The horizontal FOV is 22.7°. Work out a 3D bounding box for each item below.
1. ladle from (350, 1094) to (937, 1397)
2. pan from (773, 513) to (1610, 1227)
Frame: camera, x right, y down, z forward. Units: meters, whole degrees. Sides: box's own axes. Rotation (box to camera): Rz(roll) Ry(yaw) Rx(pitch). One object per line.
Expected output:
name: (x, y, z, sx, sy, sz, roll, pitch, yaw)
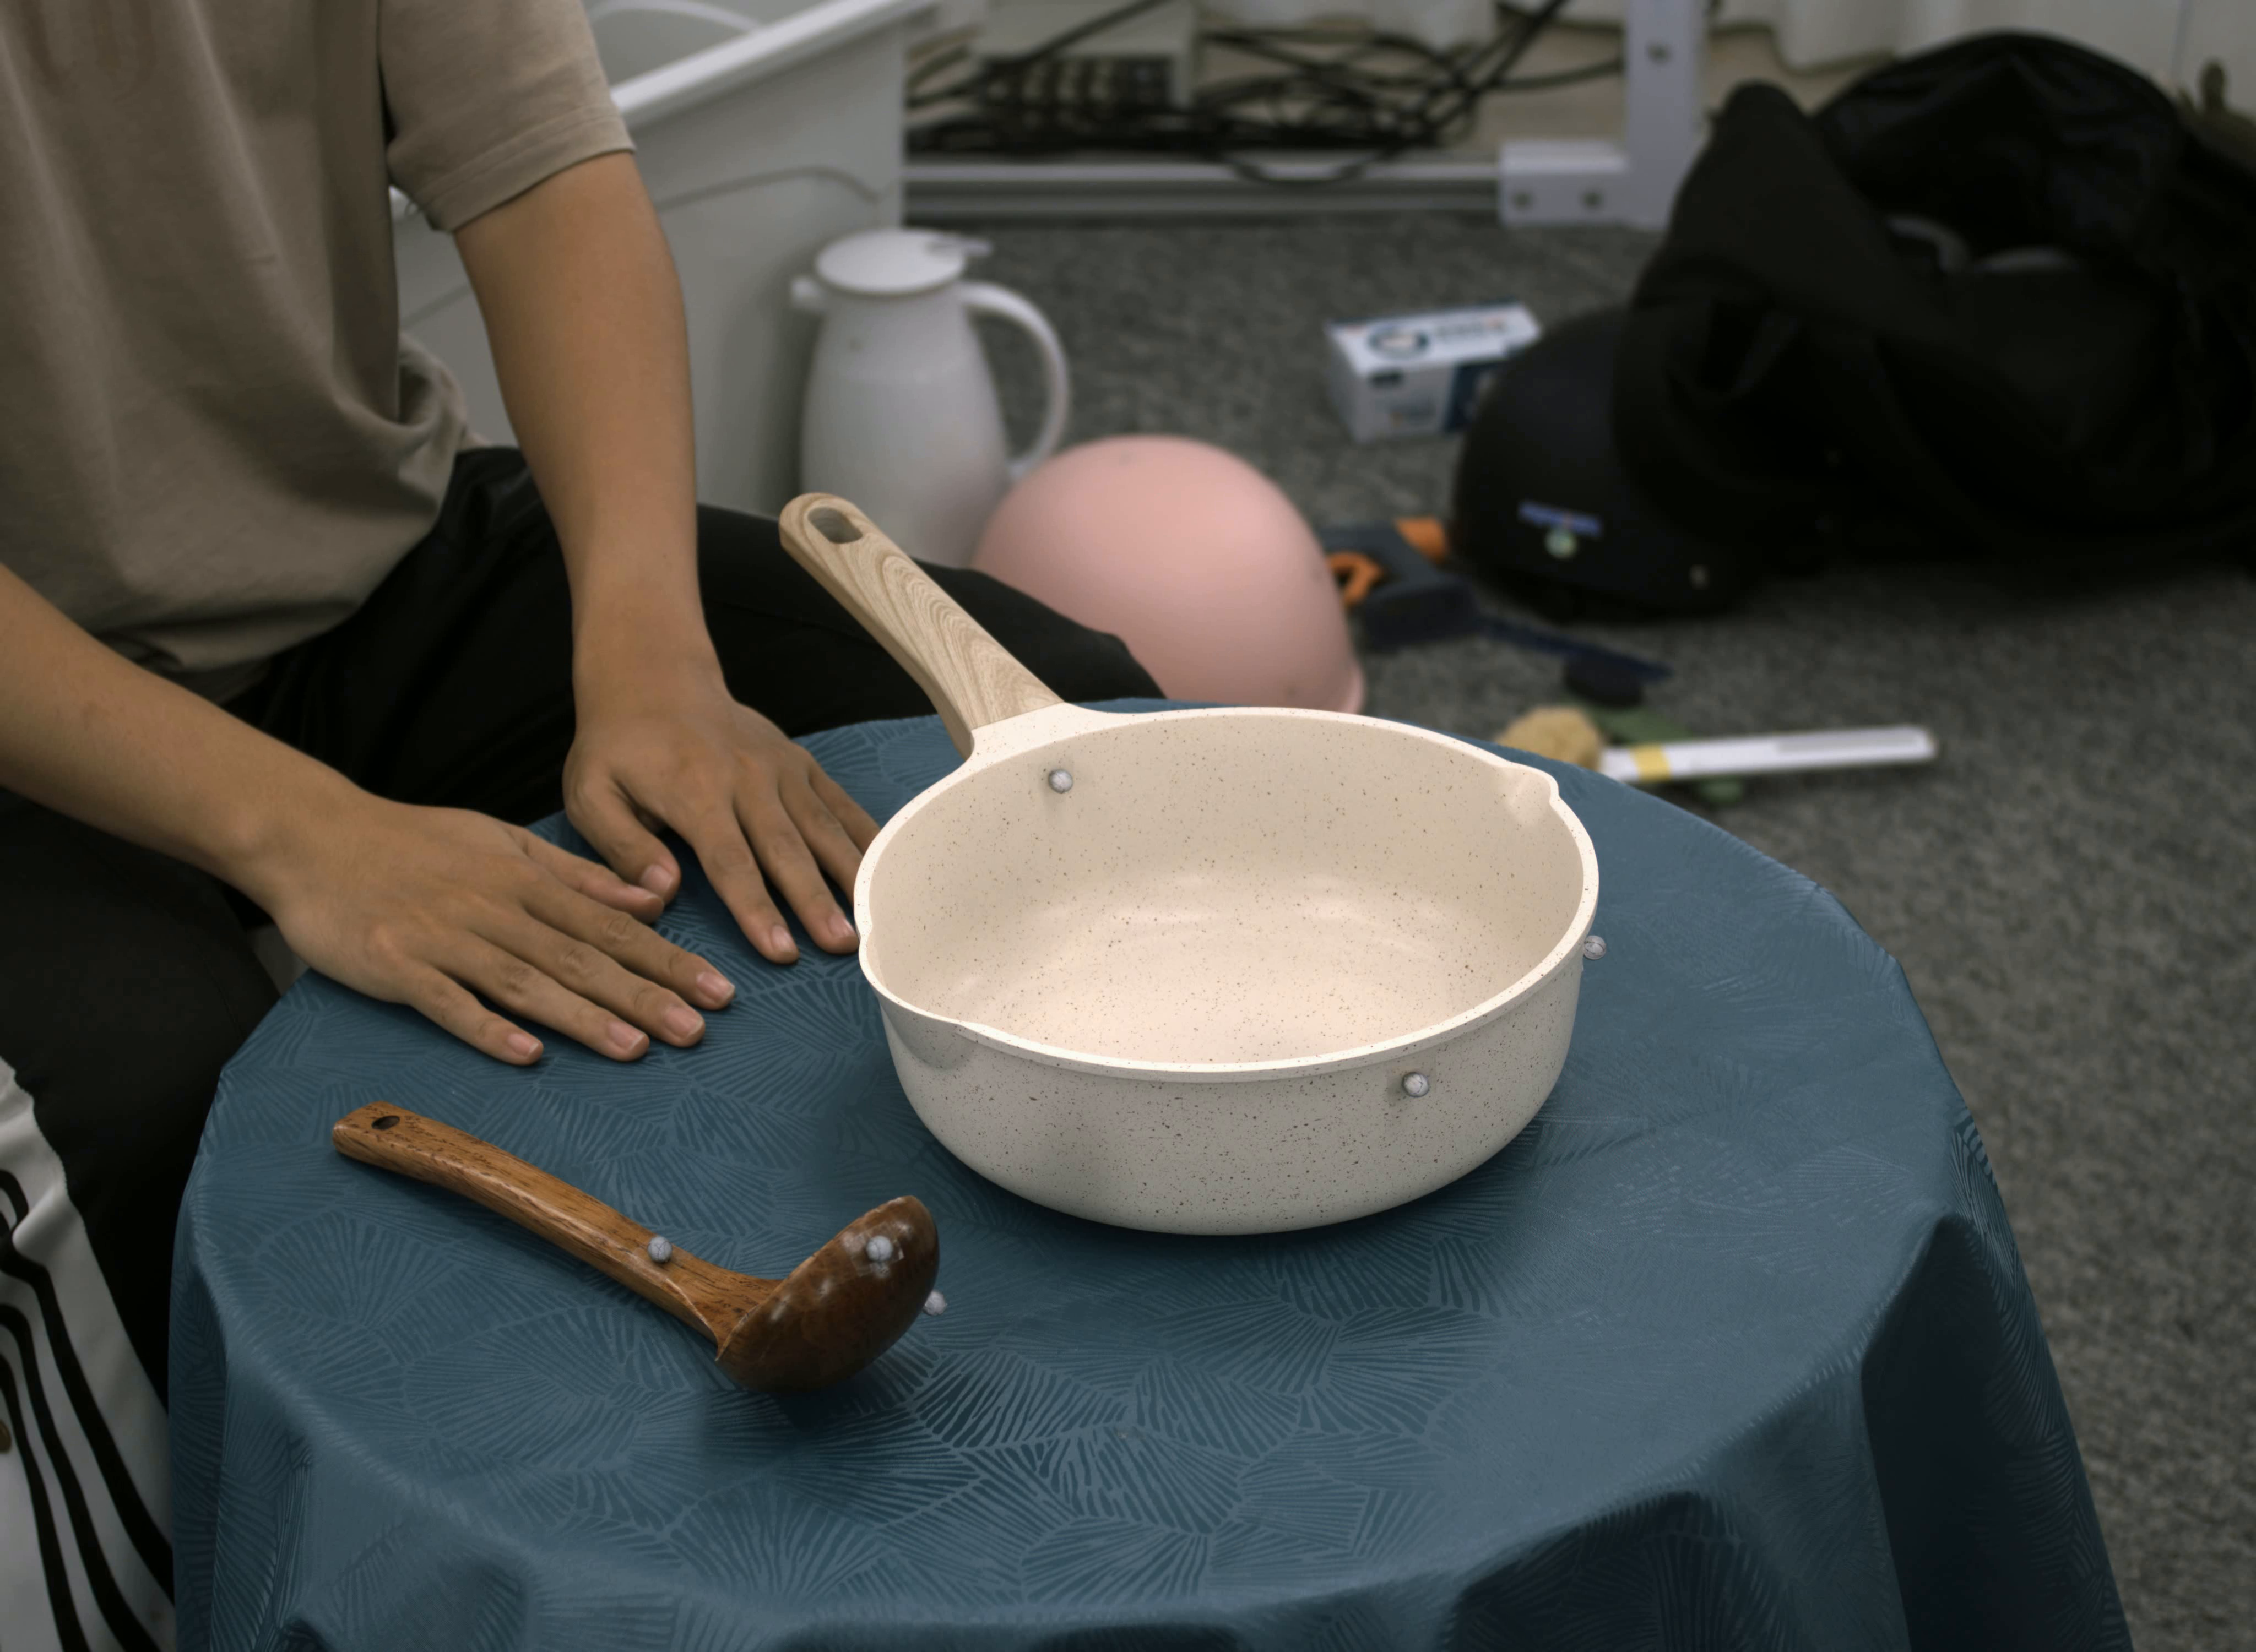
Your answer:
ladle: (-0.168, 0.115, 1.806, 0.083, 0.076, 0.274, -27, 36, -37)
pan: (-0.008, 0.008, 1.973, 0.265, 0.101, 0.436, -18, 31, -25)
